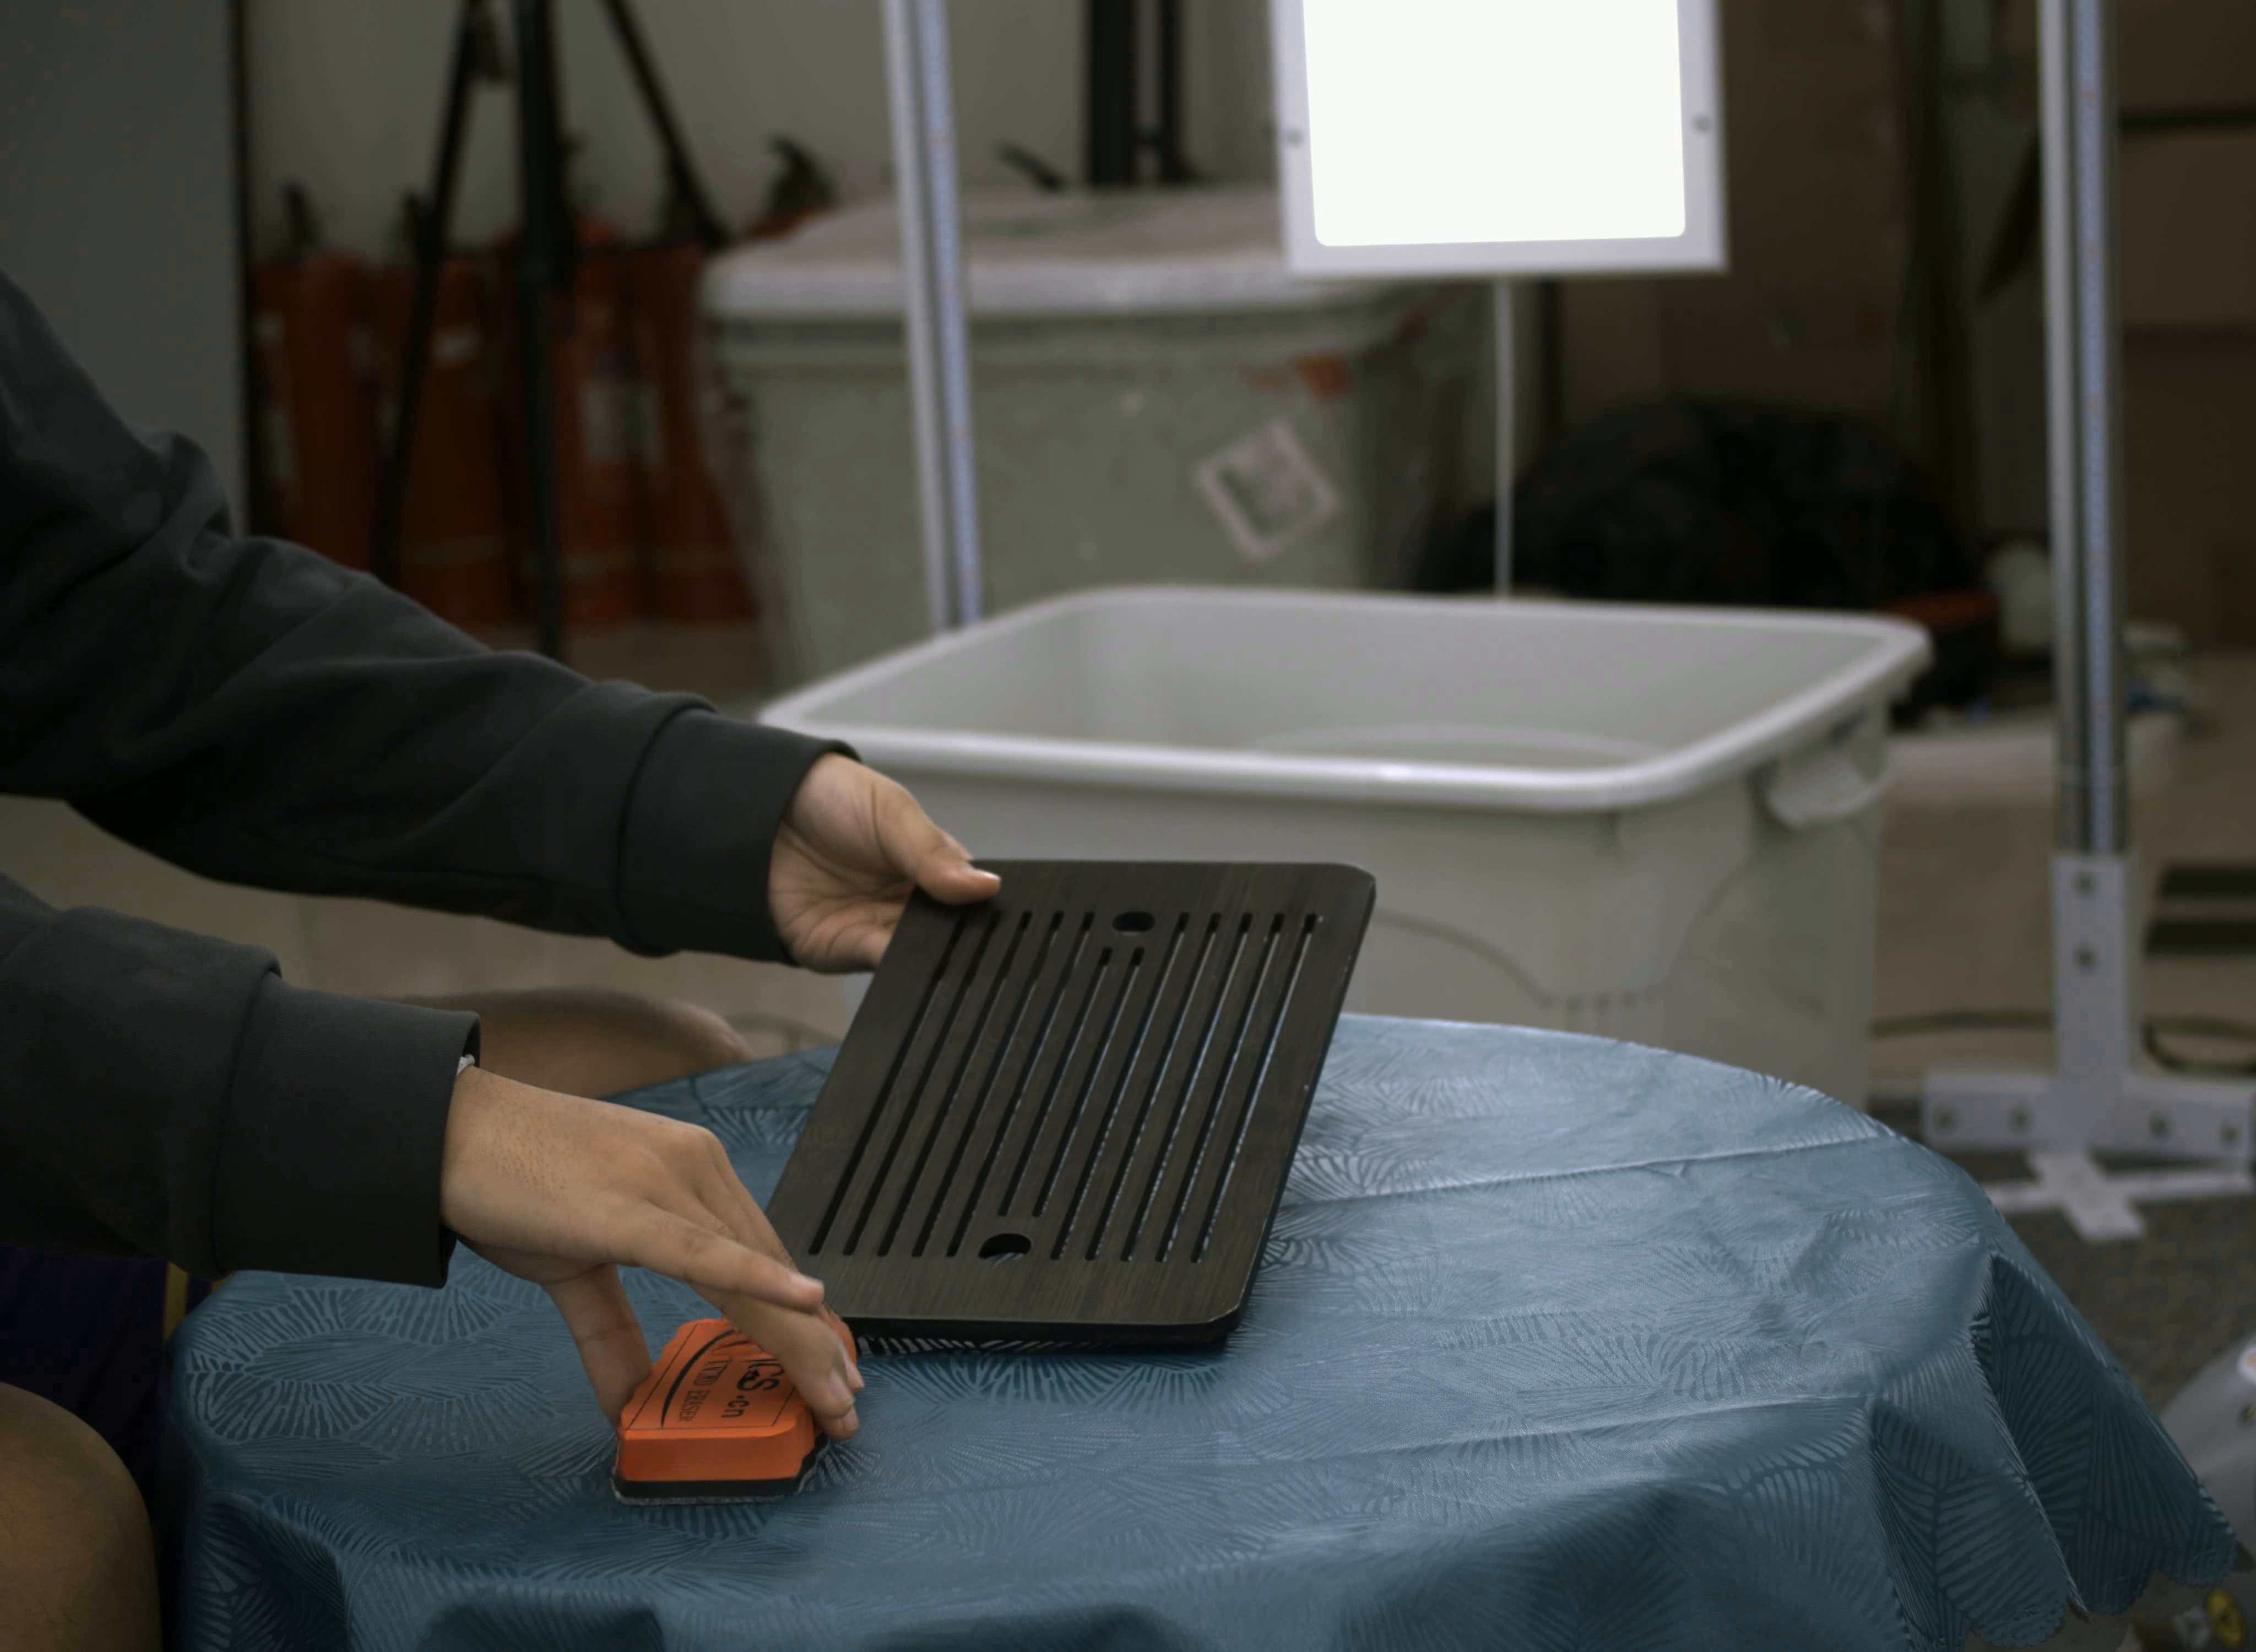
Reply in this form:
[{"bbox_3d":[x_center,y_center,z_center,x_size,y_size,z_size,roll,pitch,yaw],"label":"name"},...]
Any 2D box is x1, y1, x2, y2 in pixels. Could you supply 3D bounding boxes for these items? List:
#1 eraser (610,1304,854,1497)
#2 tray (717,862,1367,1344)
[{"bbox_3d":[-0.120,0.174,1.683,0.059,0.023,0.107,-3,15,10],"label":"eraser"},{"bbox_3d":[-0.023,0.092,1.871,0.171,0.018,0.302,-1,28,14],"label":"tray"}]
